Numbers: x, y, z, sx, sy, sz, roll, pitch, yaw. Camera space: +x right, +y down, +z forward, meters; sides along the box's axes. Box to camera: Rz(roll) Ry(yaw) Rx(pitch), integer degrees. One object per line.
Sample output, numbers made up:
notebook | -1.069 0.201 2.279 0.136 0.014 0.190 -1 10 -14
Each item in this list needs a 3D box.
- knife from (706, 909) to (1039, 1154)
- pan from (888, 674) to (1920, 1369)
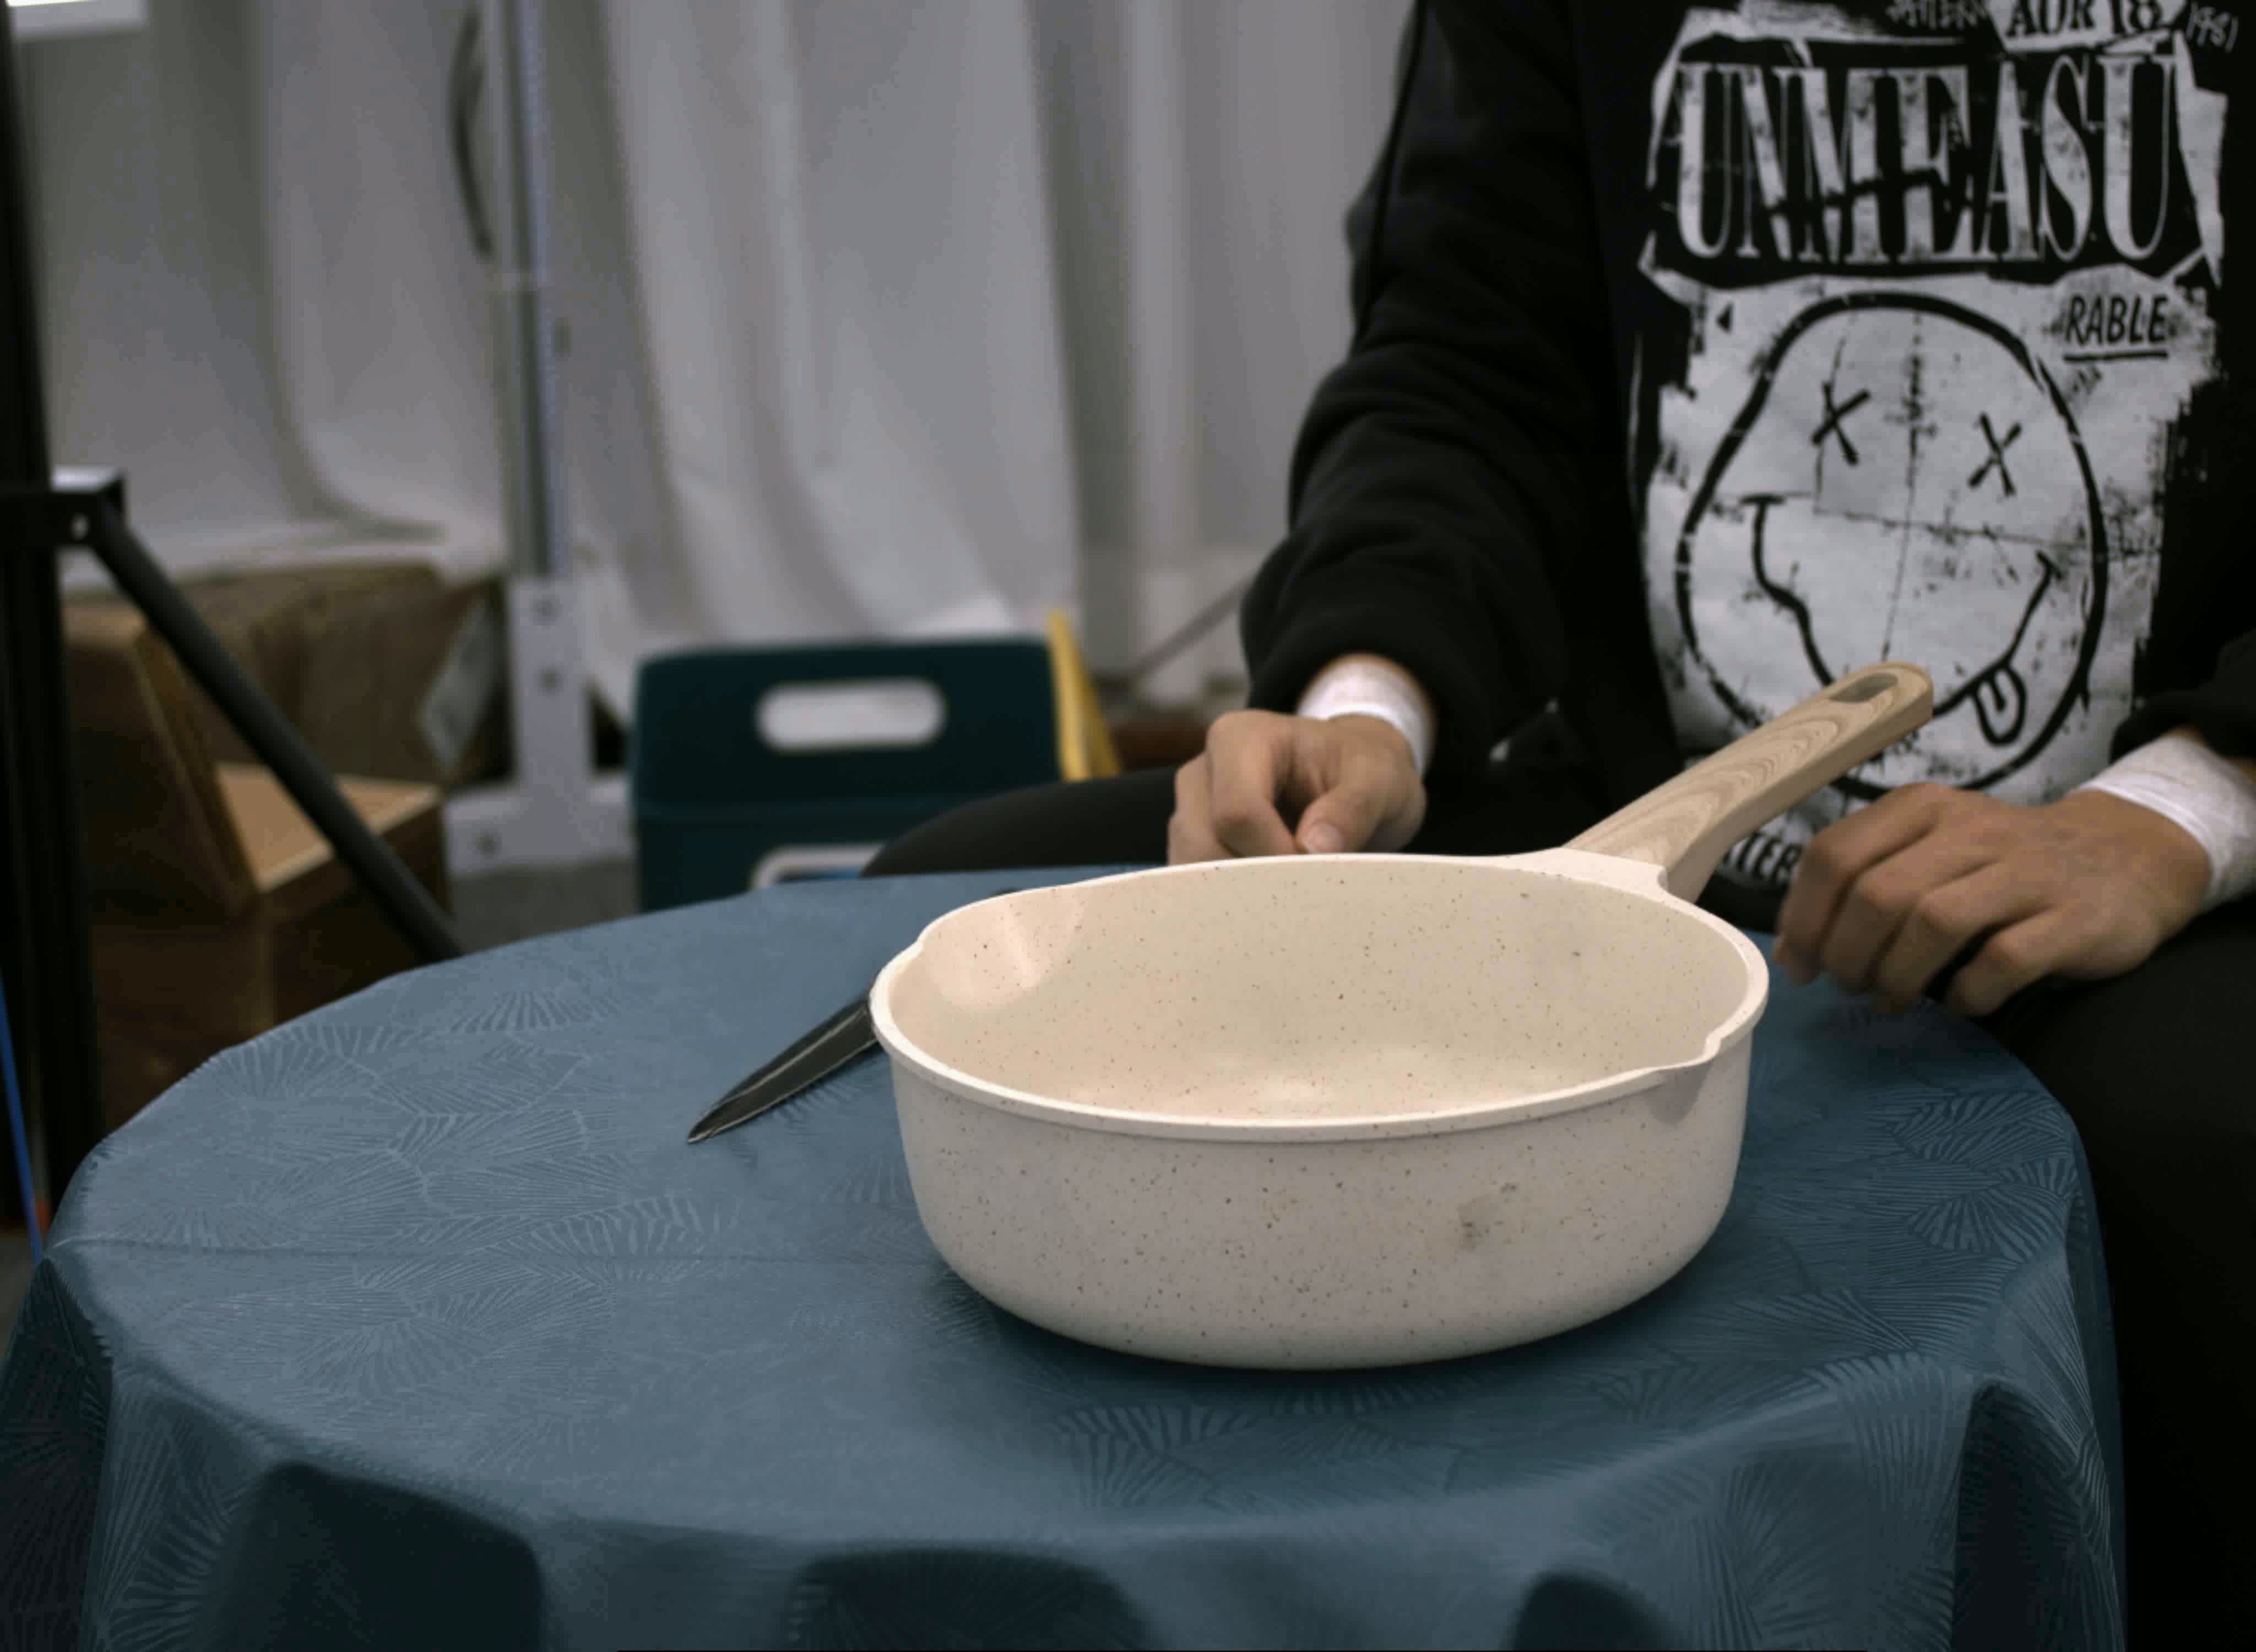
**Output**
knife | -0.083 0.065 1.706 0.026 0.017 0.222 21 25 20
pan | 0.116 0.053 1.549 0.269 0.102 0.425 9 19 39
